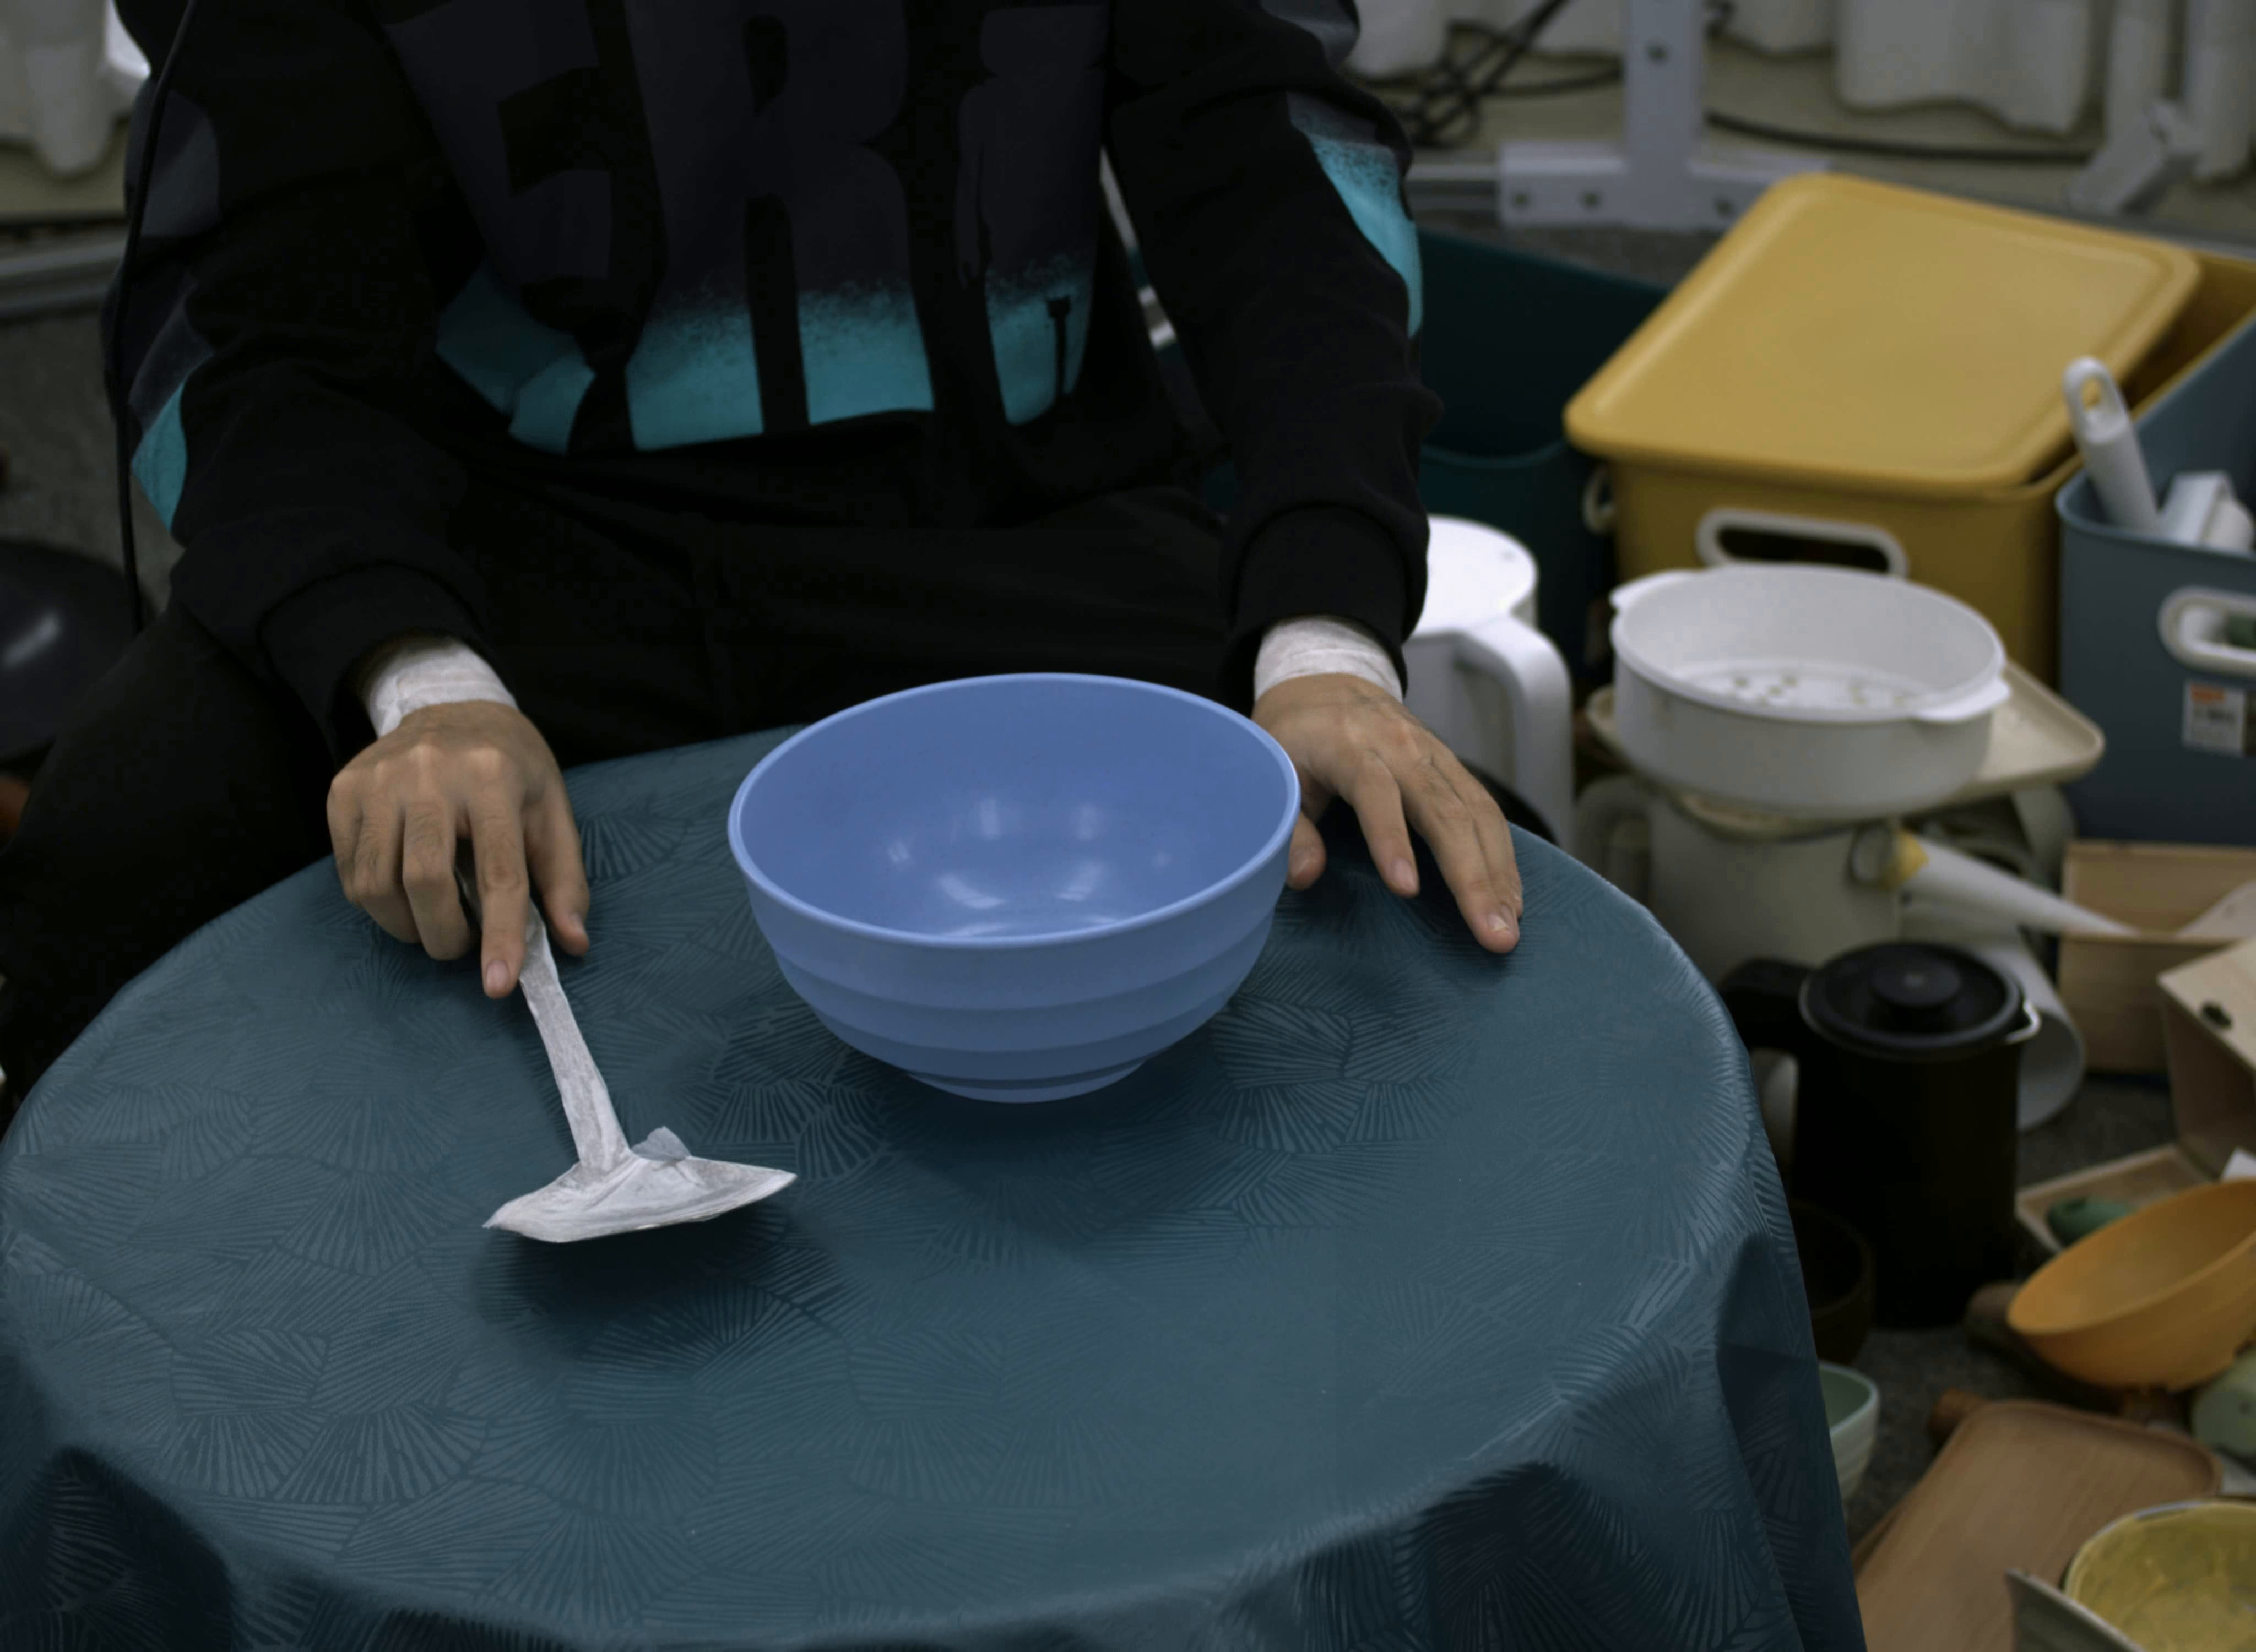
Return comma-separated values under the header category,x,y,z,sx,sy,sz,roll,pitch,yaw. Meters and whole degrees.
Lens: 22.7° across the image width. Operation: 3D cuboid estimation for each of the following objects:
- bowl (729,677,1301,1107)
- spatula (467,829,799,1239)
category,x,y,z,sx,sy,sz,roll,pitch,yaw
bowl,-0.035,0.033,1.936,0.195,0.094,0.199,-3,27,2
spatula,-0.195,0.065,1.950,0.099,0.044,0.368,-11,28,-12
